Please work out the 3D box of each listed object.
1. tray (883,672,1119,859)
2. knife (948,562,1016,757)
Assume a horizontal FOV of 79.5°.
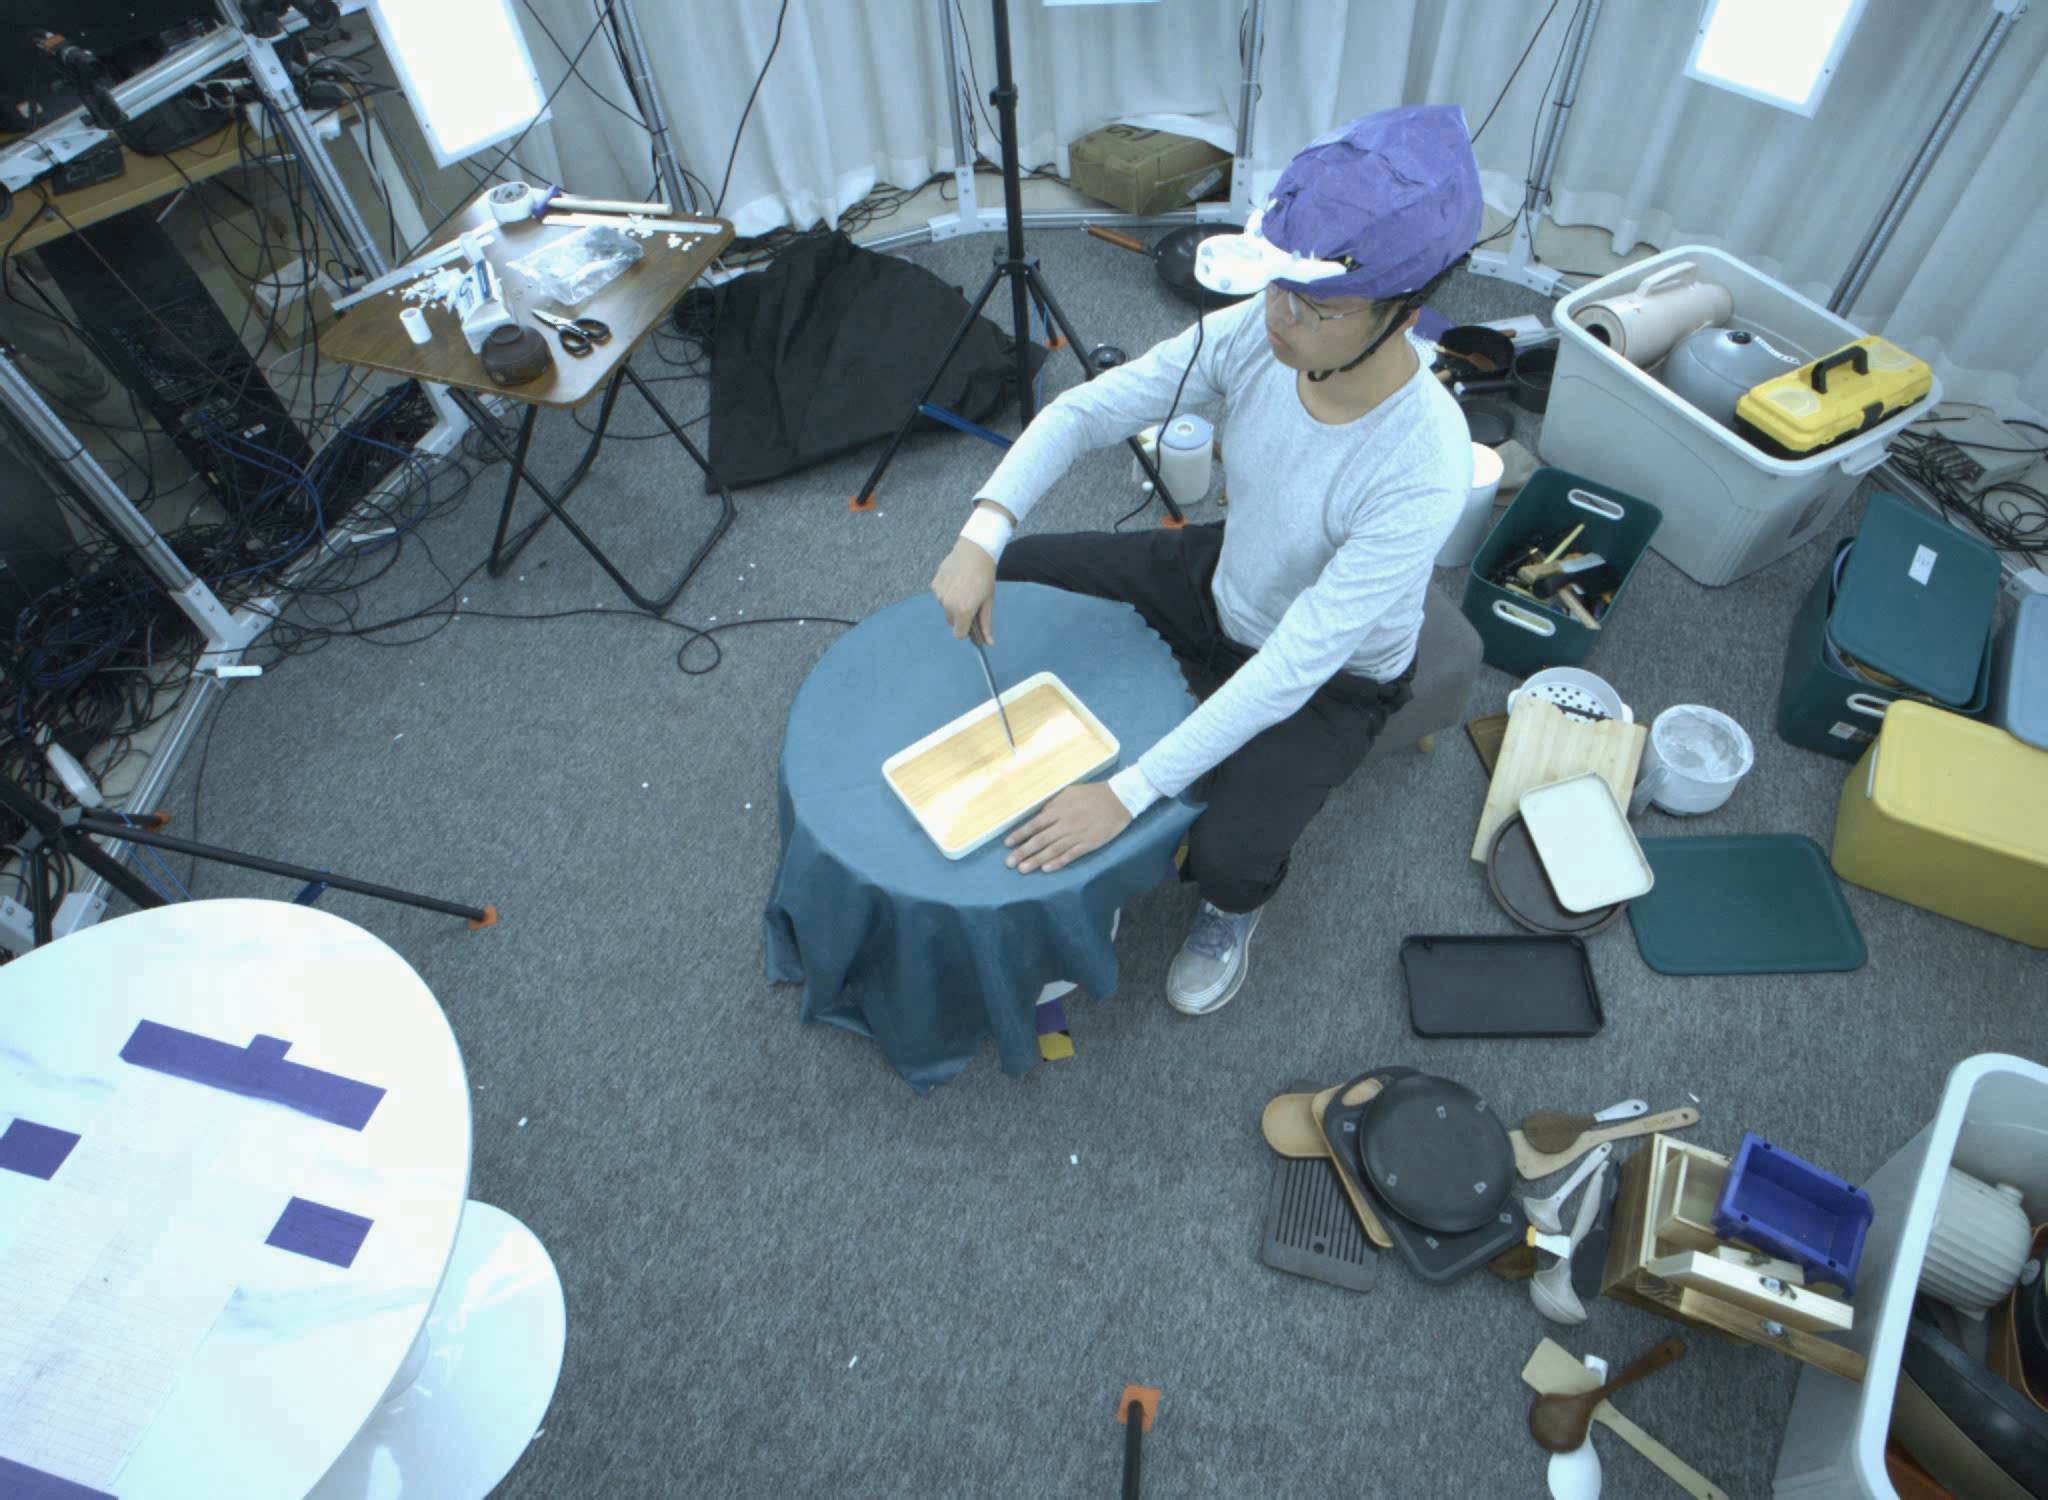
[{"bbox_3d":[-0.032,0.017,1.768,0.303,0.028,0.188,-30,59,-19],"label":"tray"},{"bbox_3d":[-0.056,-0.127,1.726,0.020,0.050,0.288,-18,86,-9],"label":"knife"}]
